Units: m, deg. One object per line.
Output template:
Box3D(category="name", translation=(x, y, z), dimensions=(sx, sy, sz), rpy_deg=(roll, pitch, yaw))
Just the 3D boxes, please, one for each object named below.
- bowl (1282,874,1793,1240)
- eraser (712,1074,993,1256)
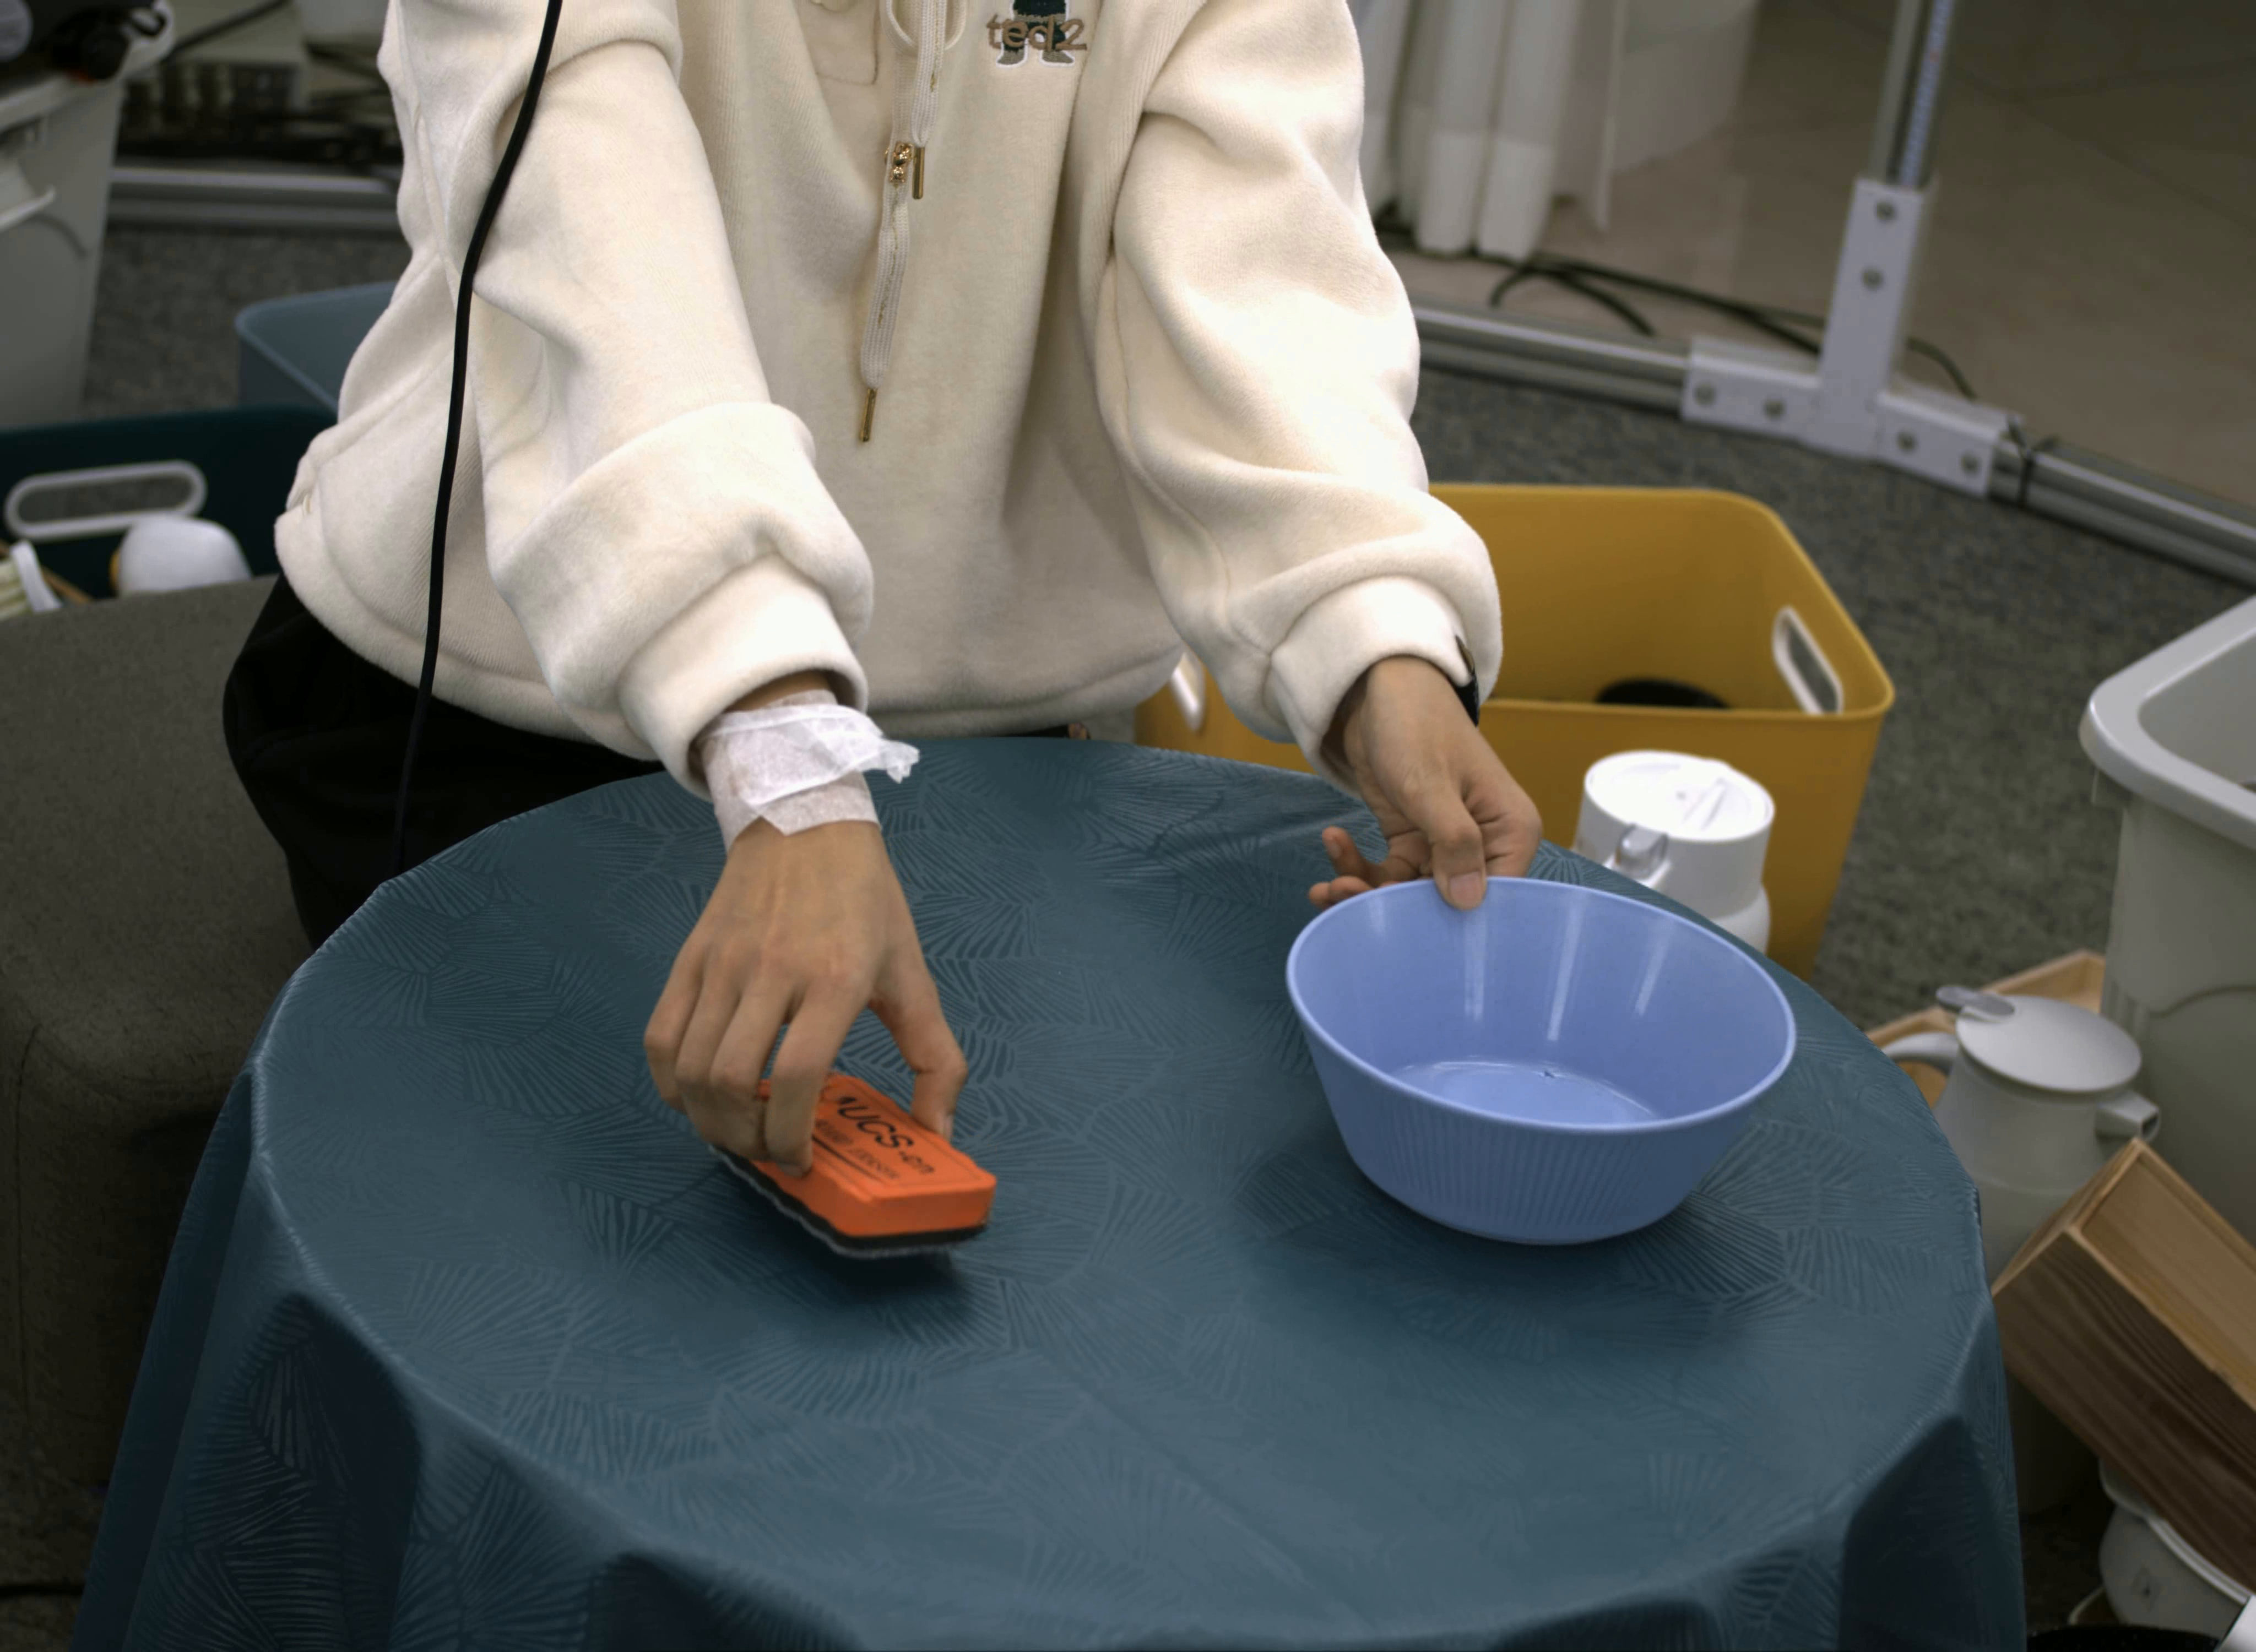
Box3D(category="bowl", translation=(0.136, 0.085, 1.828), dimensions=(0.175, 0.070, 0.177), rpy_deg=(5, 27, -3))
Box3D(category="eraser", translation=(-0.092, 0.111, 1.758), dimensions=(0.058, 0.023, 0.109), rpy_deg=(-4, 19, -29))
